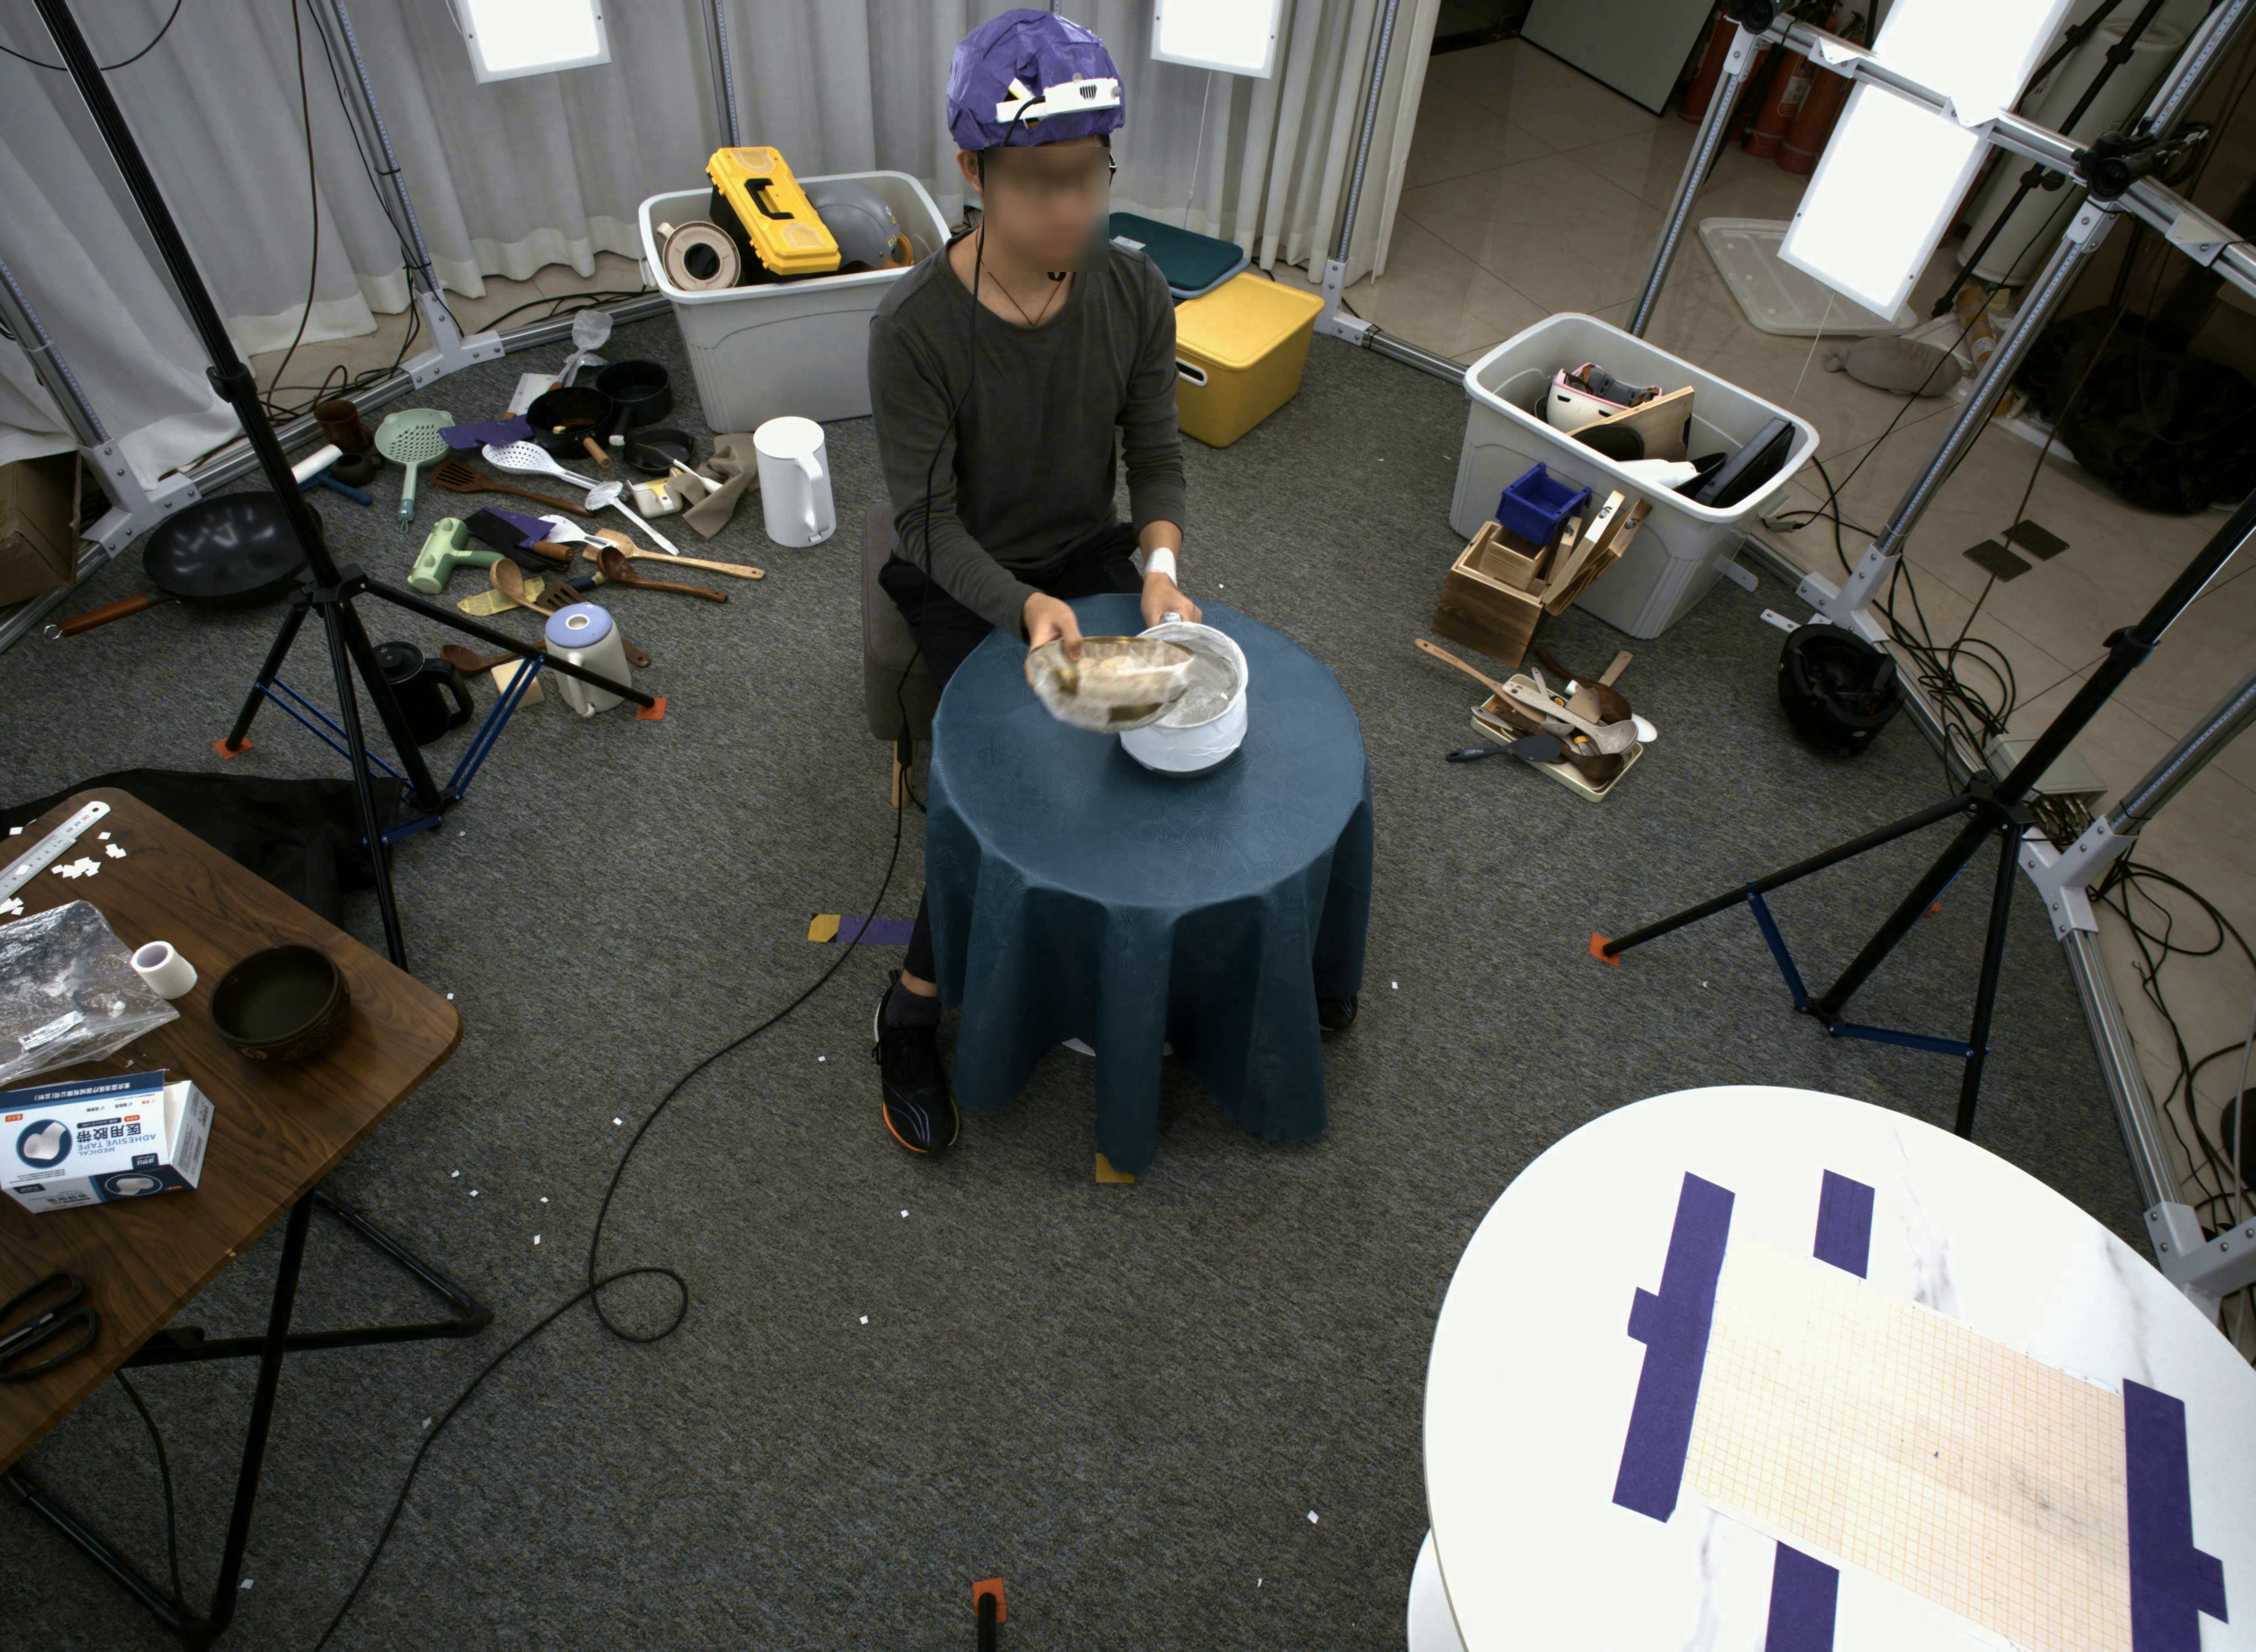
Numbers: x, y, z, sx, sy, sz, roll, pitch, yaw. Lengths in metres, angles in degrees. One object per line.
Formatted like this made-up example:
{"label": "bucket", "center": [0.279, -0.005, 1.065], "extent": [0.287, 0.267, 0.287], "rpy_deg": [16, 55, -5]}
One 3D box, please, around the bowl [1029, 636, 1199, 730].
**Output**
{"label": "bowl", "center": [-0.017, -0.168, 1.545], "extent": [0.214, 0.093, 0.217], "rpy_deg": [1, 17, -1]}

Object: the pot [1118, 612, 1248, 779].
{"label": "pot", "center": [0.068, -0.186, 1.725], "extent": [0.178, 0.133, 0.239], "rpy_deg": [-8, 56, 0]}
